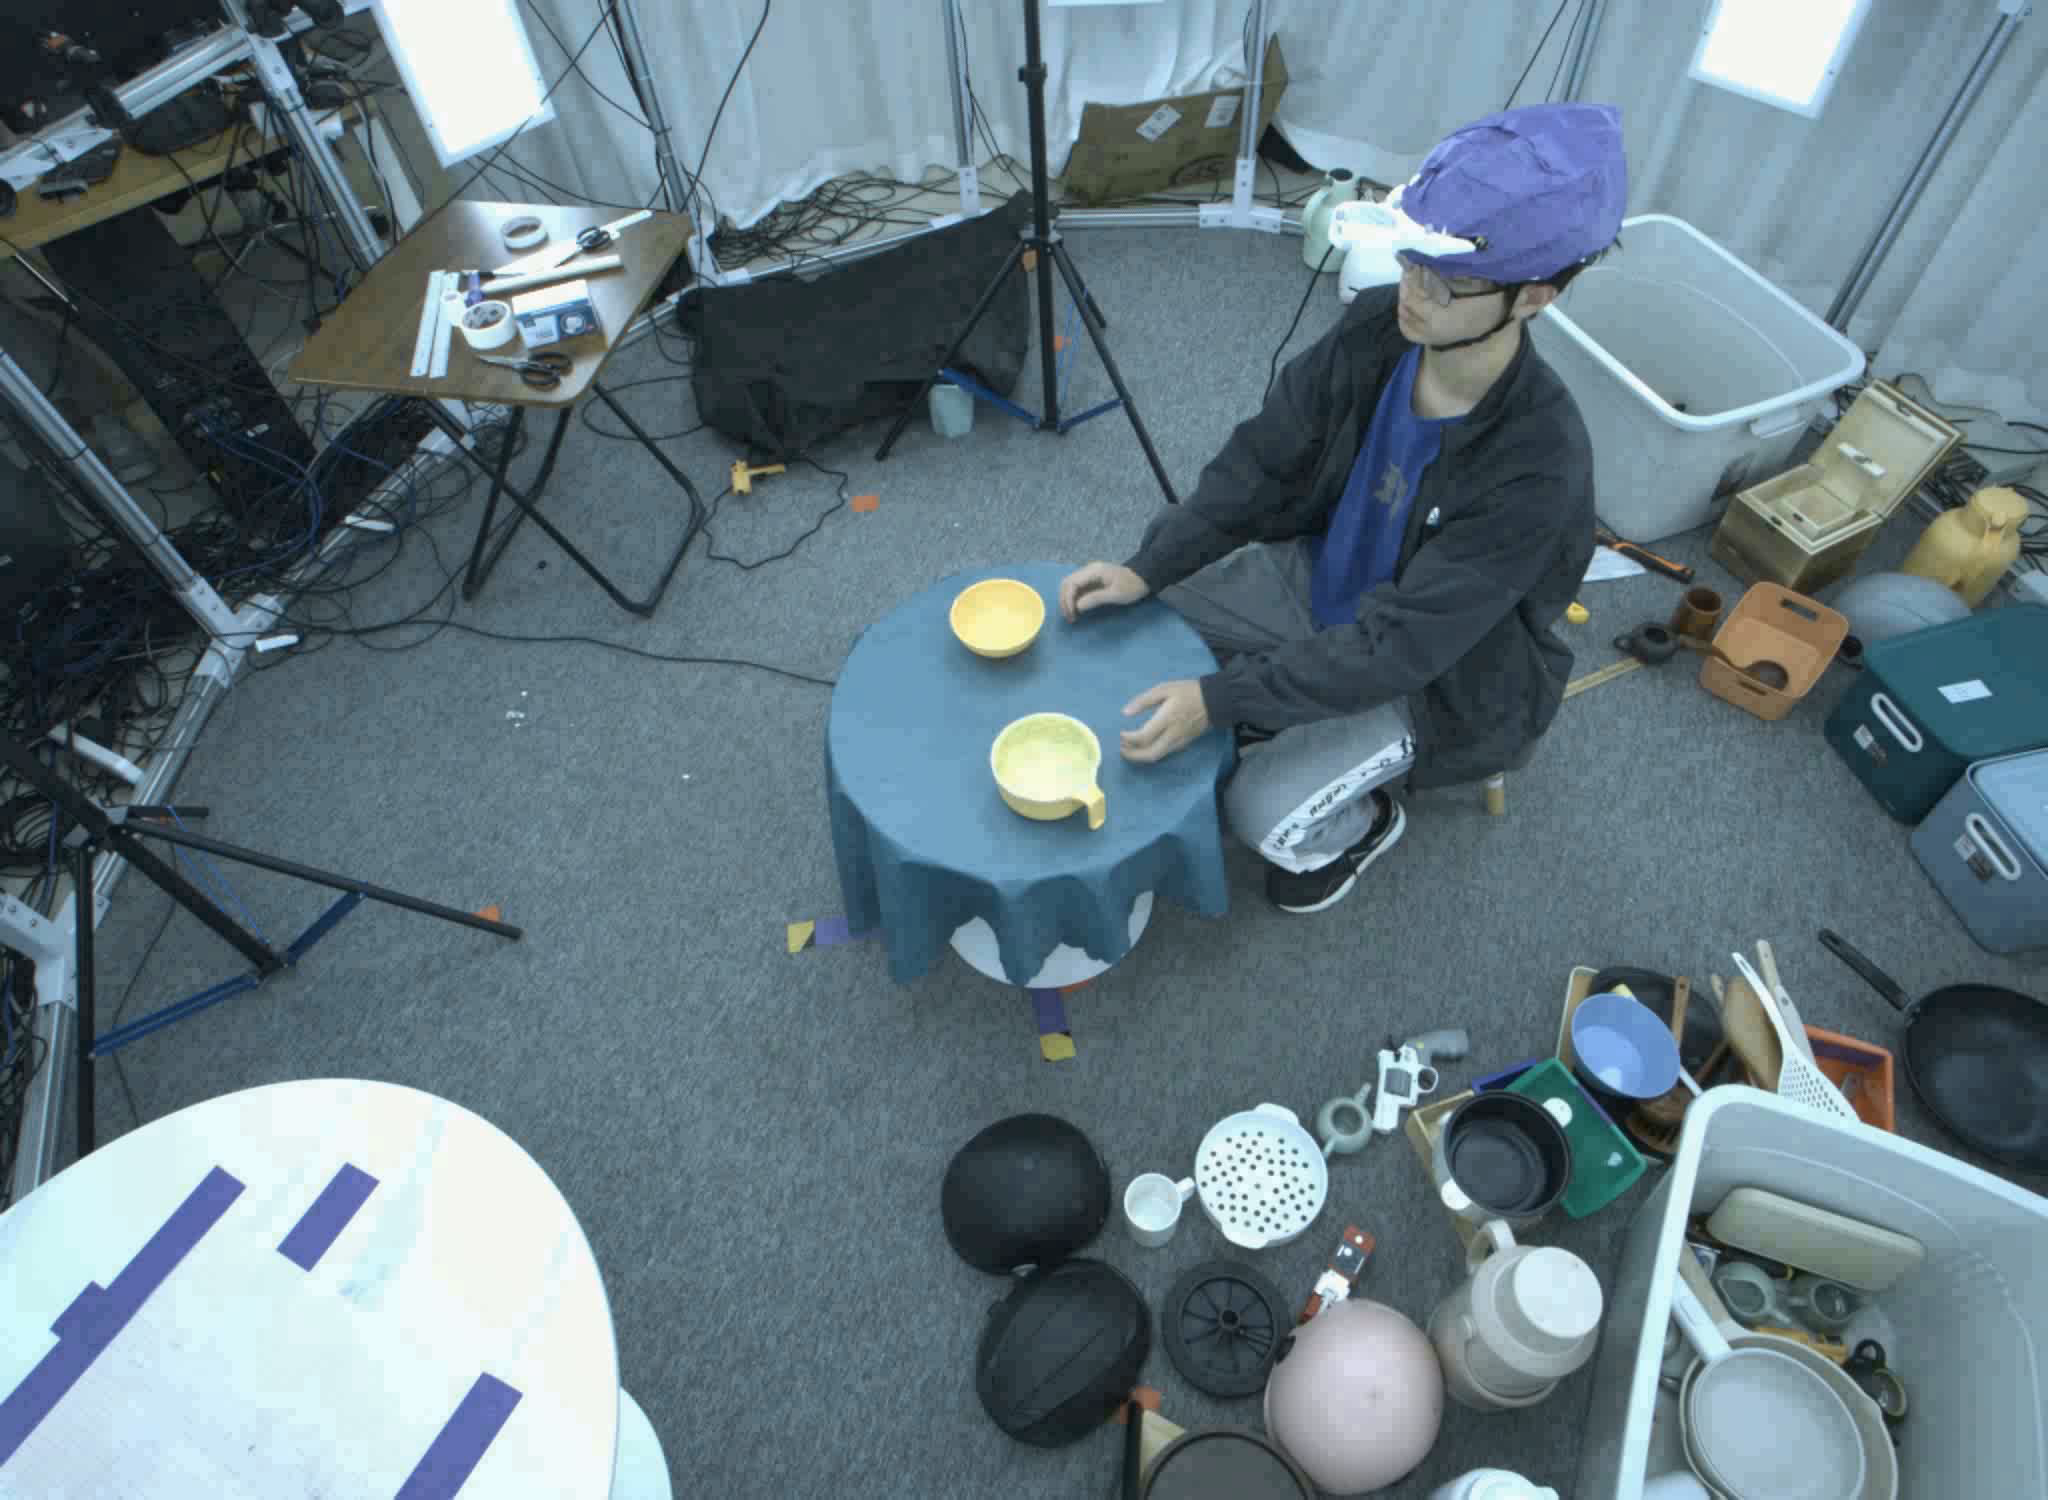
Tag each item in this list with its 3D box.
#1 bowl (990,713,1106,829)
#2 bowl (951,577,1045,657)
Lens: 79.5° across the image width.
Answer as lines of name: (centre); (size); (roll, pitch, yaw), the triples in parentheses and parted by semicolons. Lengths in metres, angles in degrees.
bowl: (0.040, 0.036, 1.708); (0.176, 0.075, 0.154); (35, 60, 26)
bowl: (-0.038, -0.192, 1.881); (0.145, 0.061, 0.144); (0, 57, 2)
